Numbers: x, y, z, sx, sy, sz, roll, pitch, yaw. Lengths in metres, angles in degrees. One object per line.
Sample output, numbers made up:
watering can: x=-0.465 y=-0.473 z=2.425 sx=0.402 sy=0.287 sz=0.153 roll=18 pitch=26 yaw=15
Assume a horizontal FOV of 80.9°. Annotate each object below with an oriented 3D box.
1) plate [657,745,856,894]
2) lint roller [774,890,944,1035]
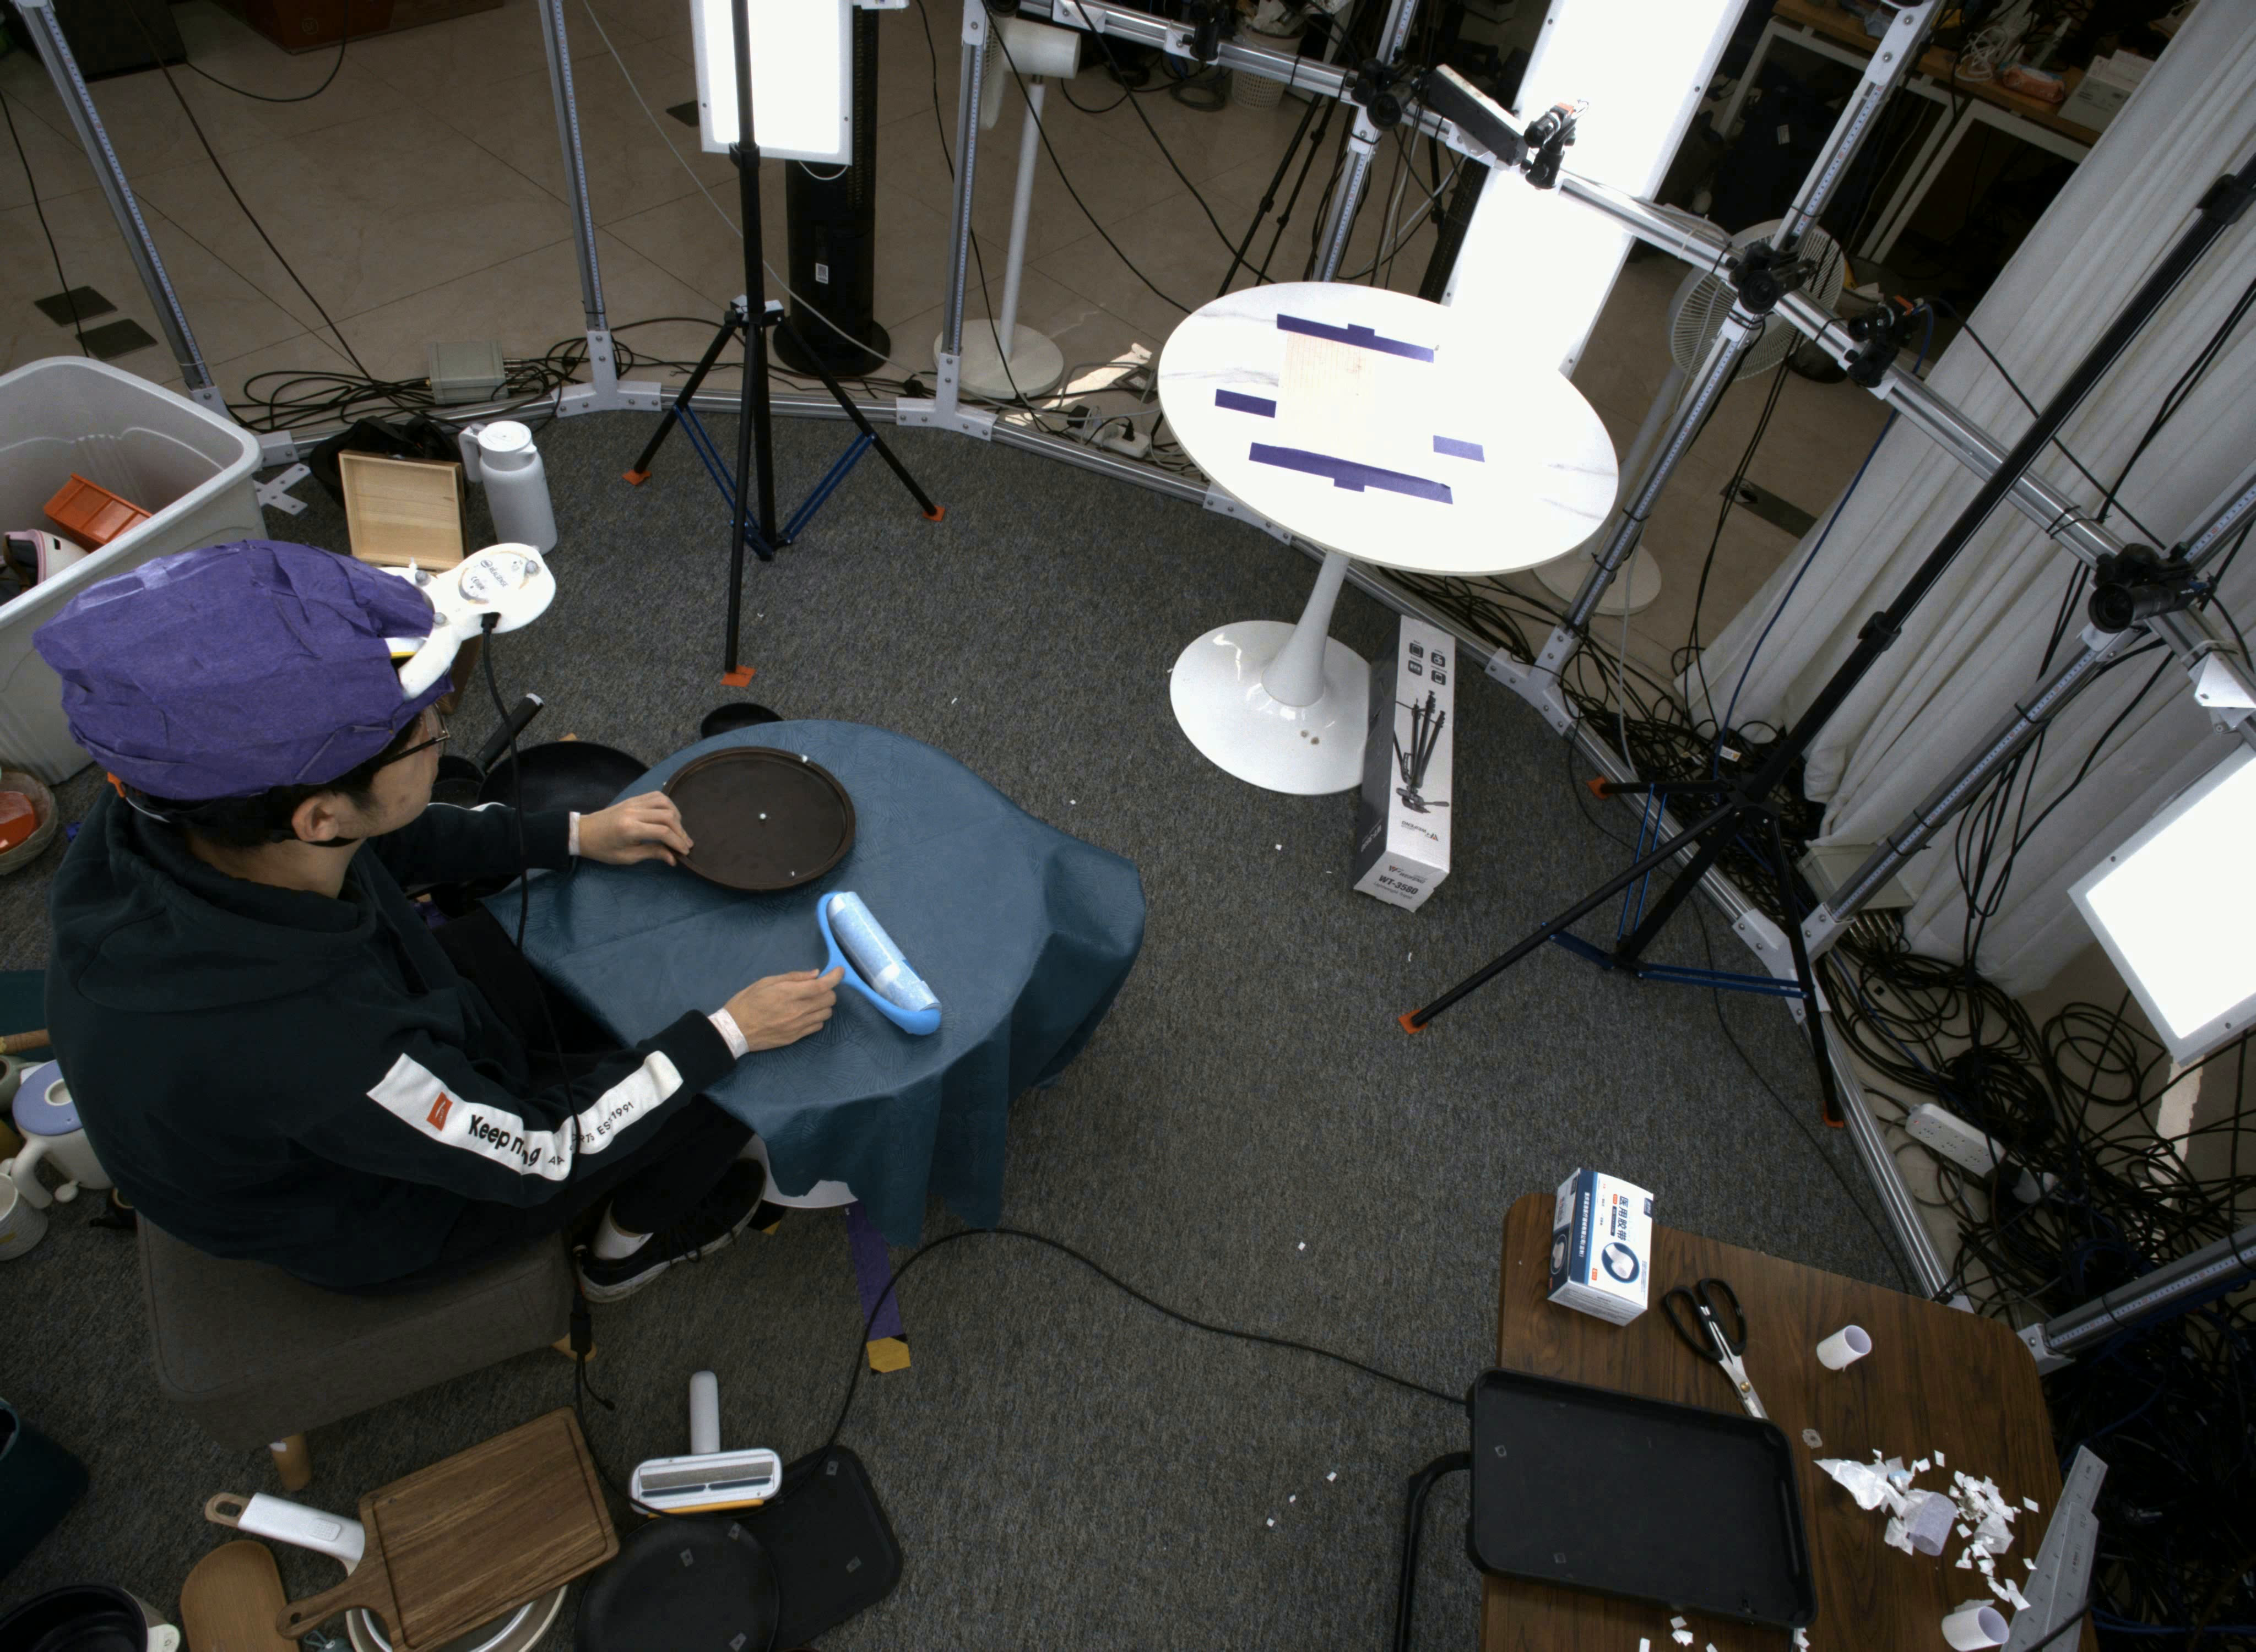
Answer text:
plate: x=-0.483 y=-0.011 z=1.688 sx=0.255 sy=0.029 sz=0.249 roll=13 pitch=44 yaw=-11
lint roller: x=-0.347 y=0.189 z=1.574 sx=0.181 sy=0.069 sz=0.224 roll=-32 pitch=69 yaw=-32
